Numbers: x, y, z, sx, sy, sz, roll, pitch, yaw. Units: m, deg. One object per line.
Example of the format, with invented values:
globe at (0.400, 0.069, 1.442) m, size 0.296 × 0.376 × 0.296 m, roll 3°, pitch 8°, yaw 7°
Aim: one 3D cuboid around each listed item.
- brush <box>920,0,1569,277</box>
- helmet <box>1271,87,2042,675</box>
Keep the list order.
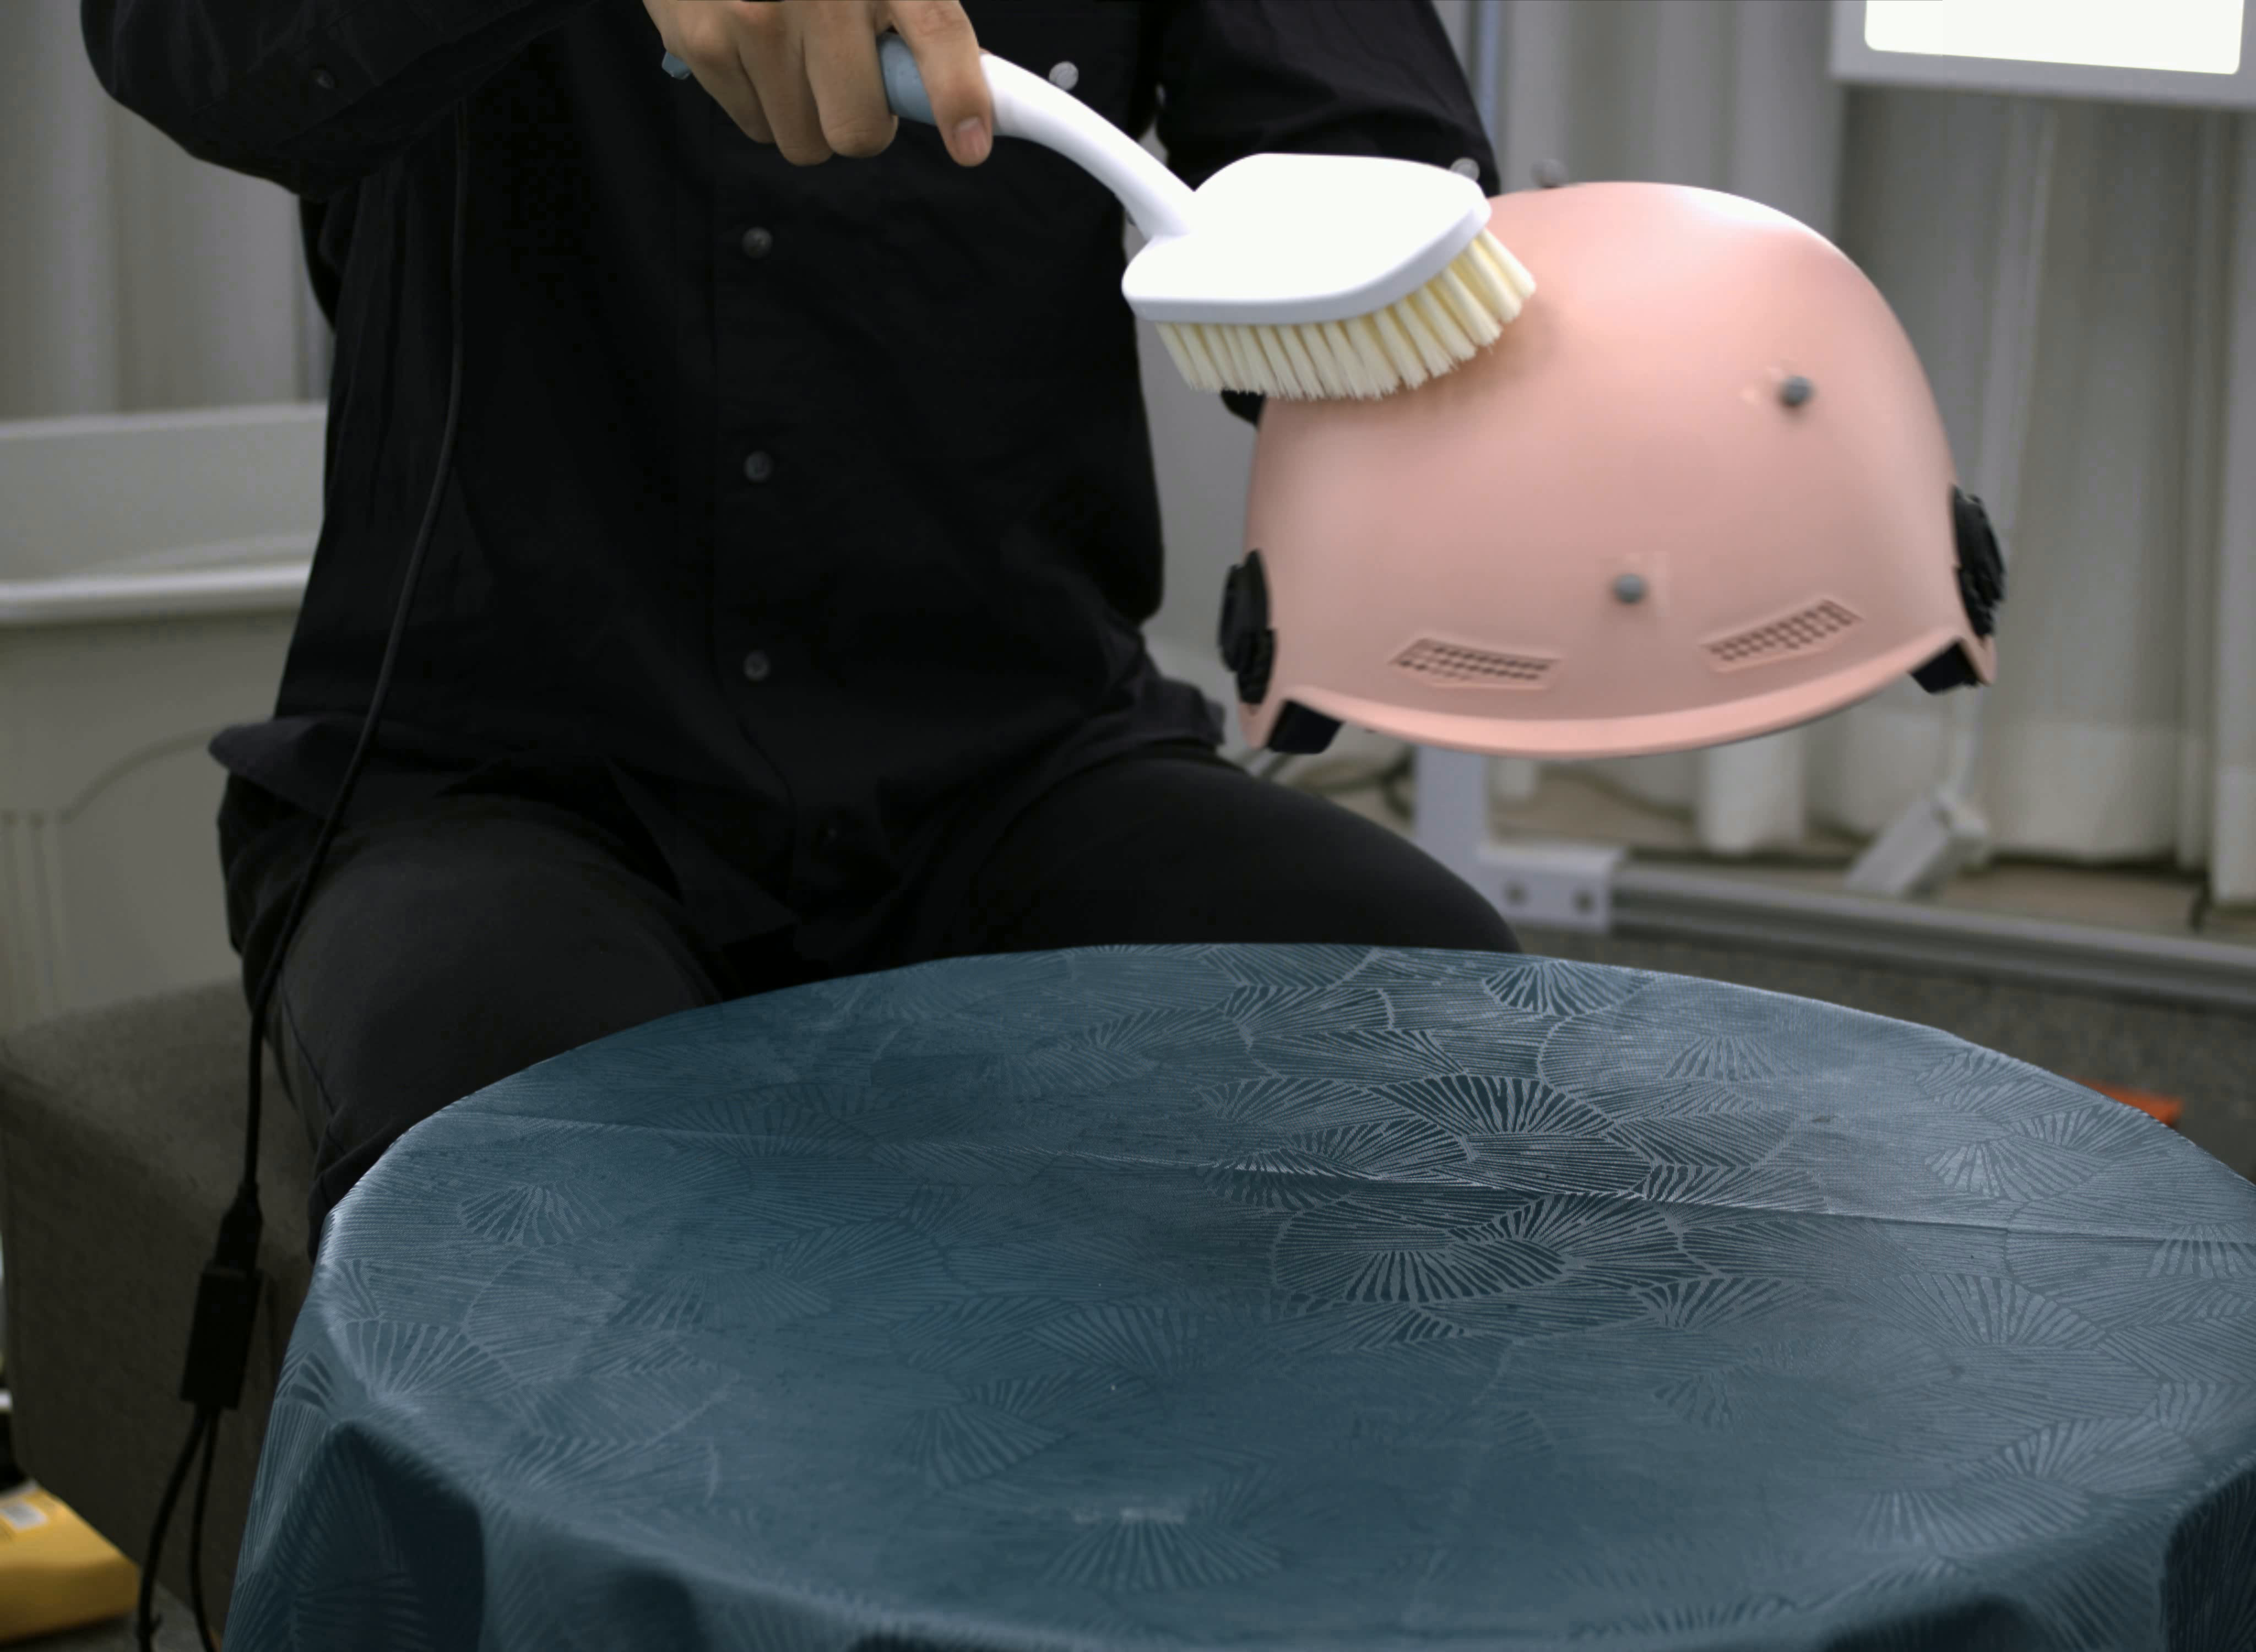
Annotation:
brush at (0.003, -0.222, 1.599) m, size 0.321 × 0.085 × 0.083 m, roll 19°, pitch 18°, yaw 37°
helmet at (0.155, -0.141, 1.597) m, size 0.233 × 0.160 × 0.265 m, roll -5°, pitch 14°, yaw 3°
